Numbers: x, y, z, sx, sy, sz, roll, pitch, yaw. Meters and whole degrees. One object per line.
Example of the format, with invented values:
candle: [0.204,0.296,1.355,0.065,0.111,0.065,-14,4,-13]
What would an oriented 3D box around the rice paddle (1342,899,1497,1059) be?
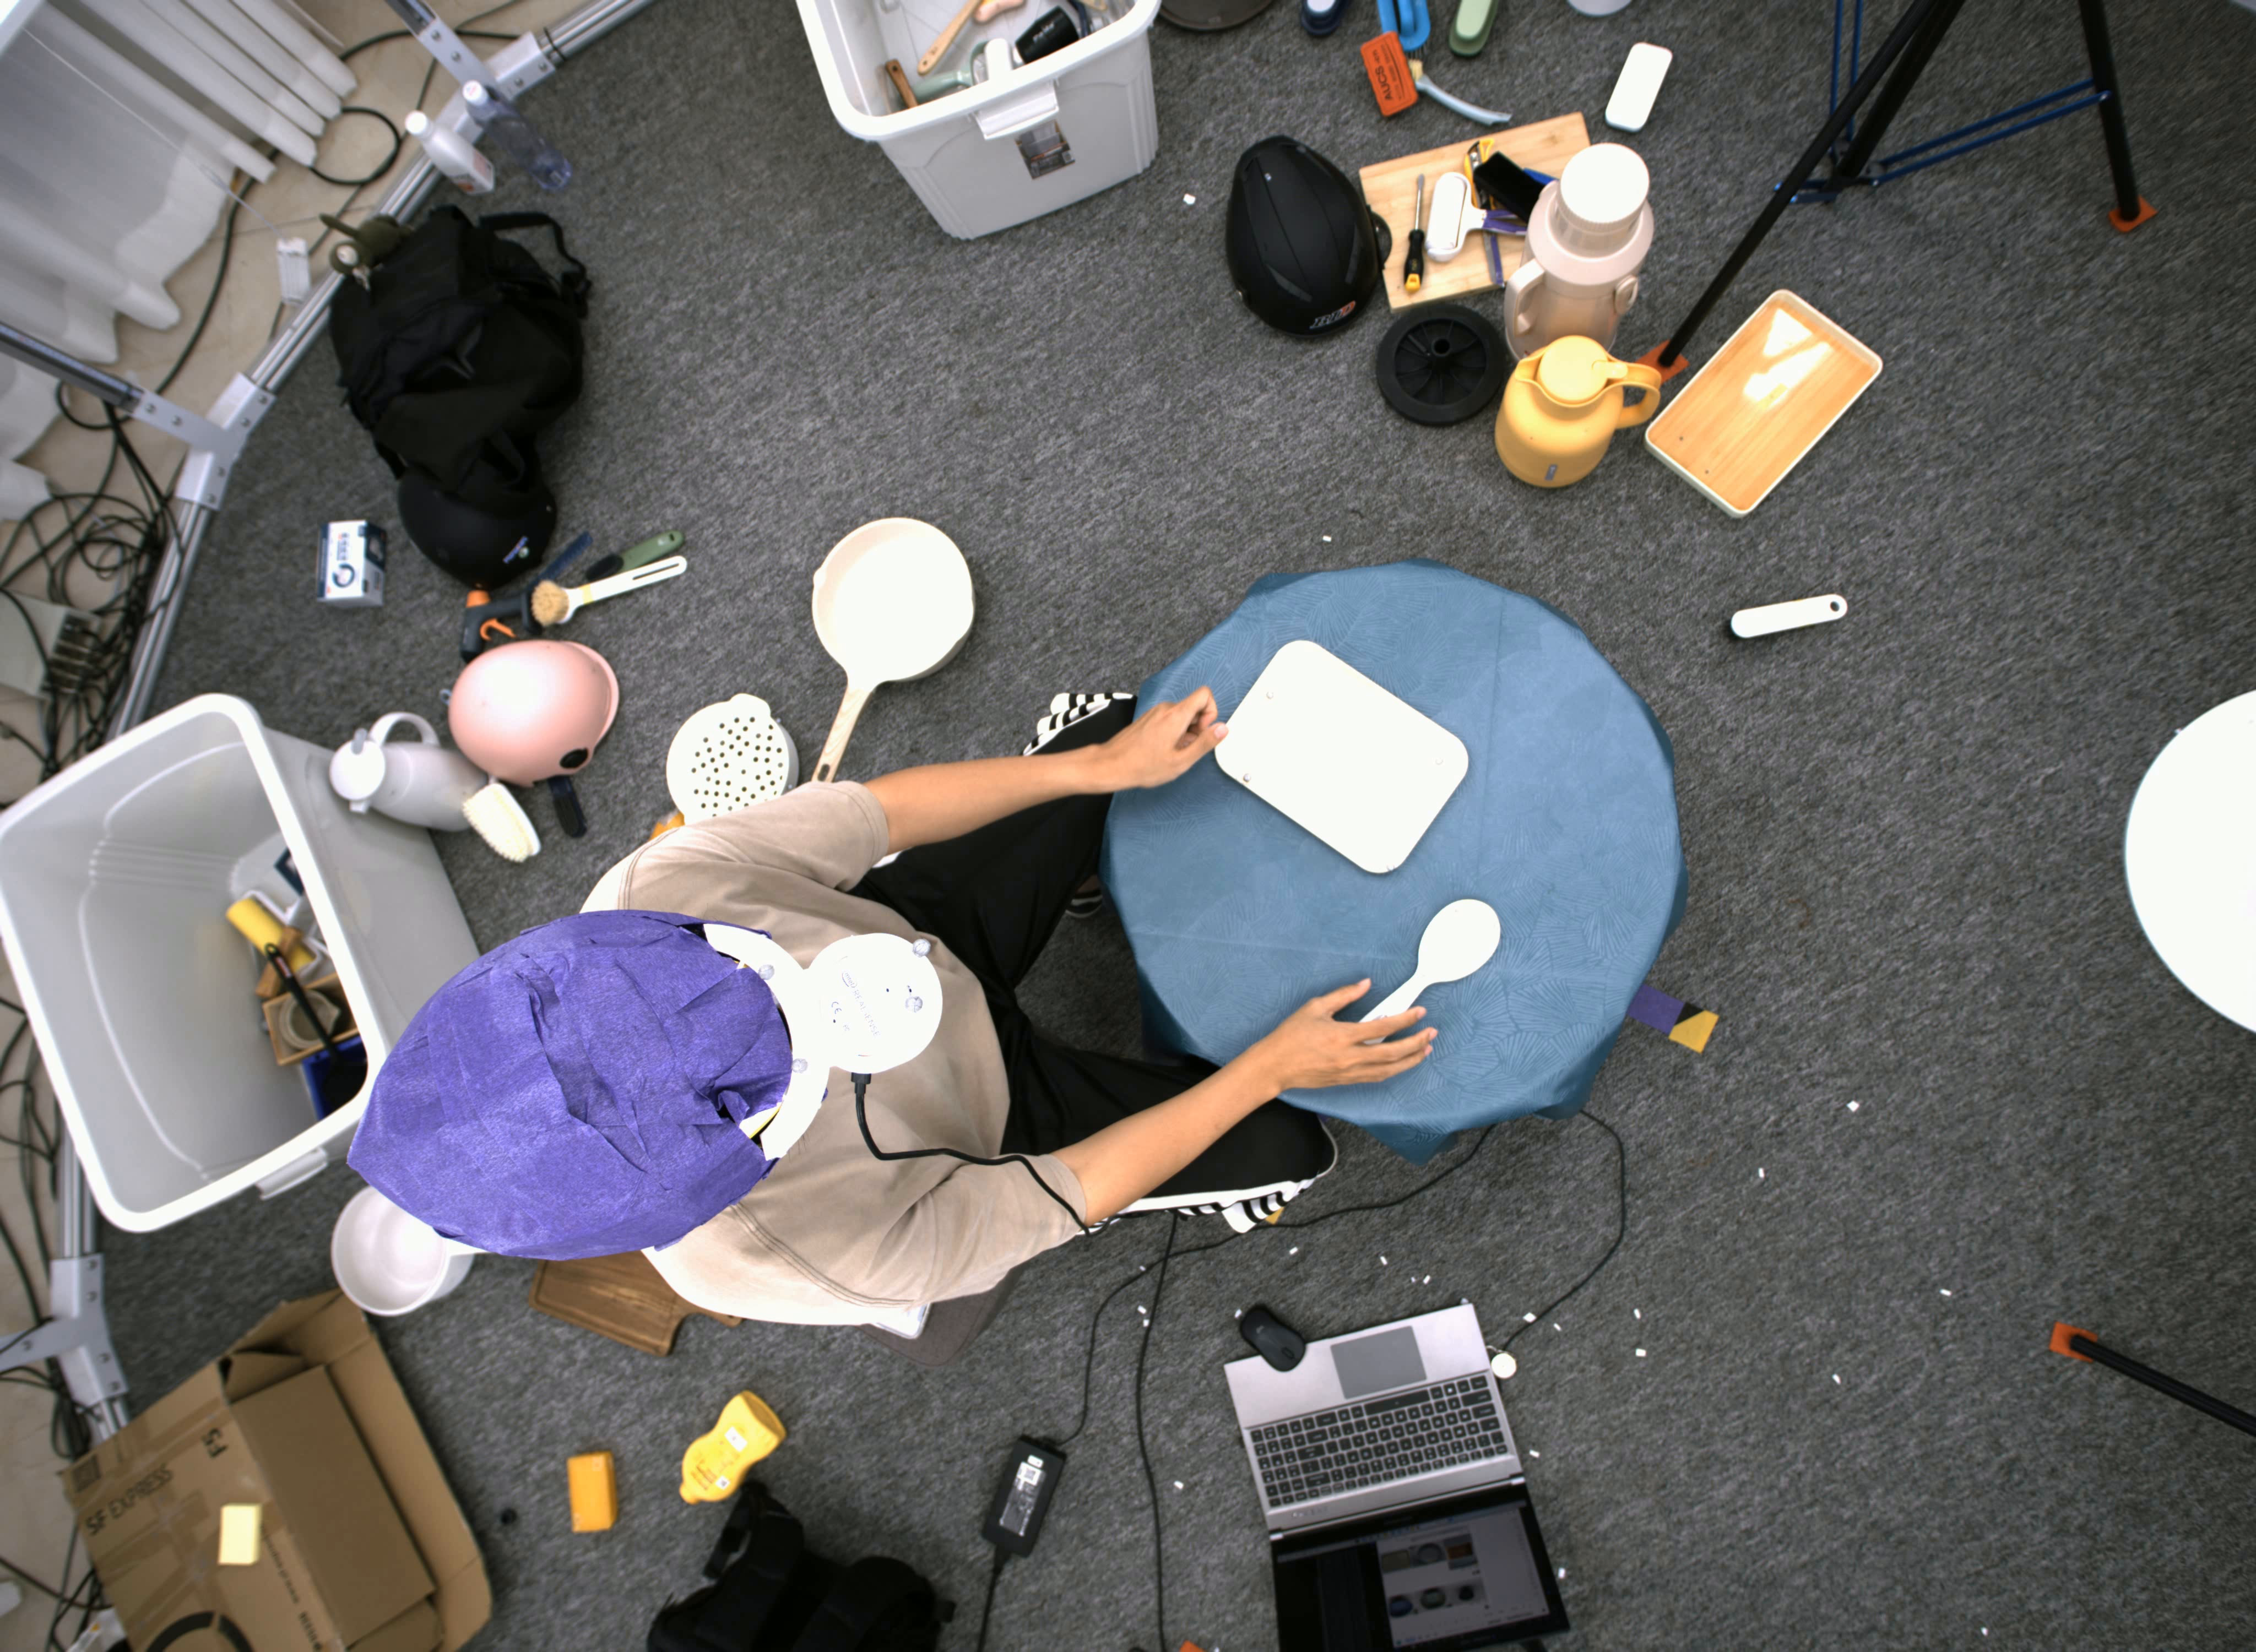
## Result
rice paddle: [0.303,0.156,1.434,0.068,0.029,0.206,44,95,9]

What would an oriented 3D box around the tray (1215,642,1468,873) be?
tray: [0.226,-0.075,1.470,0.239,0.017,0.171,36,93,11]
